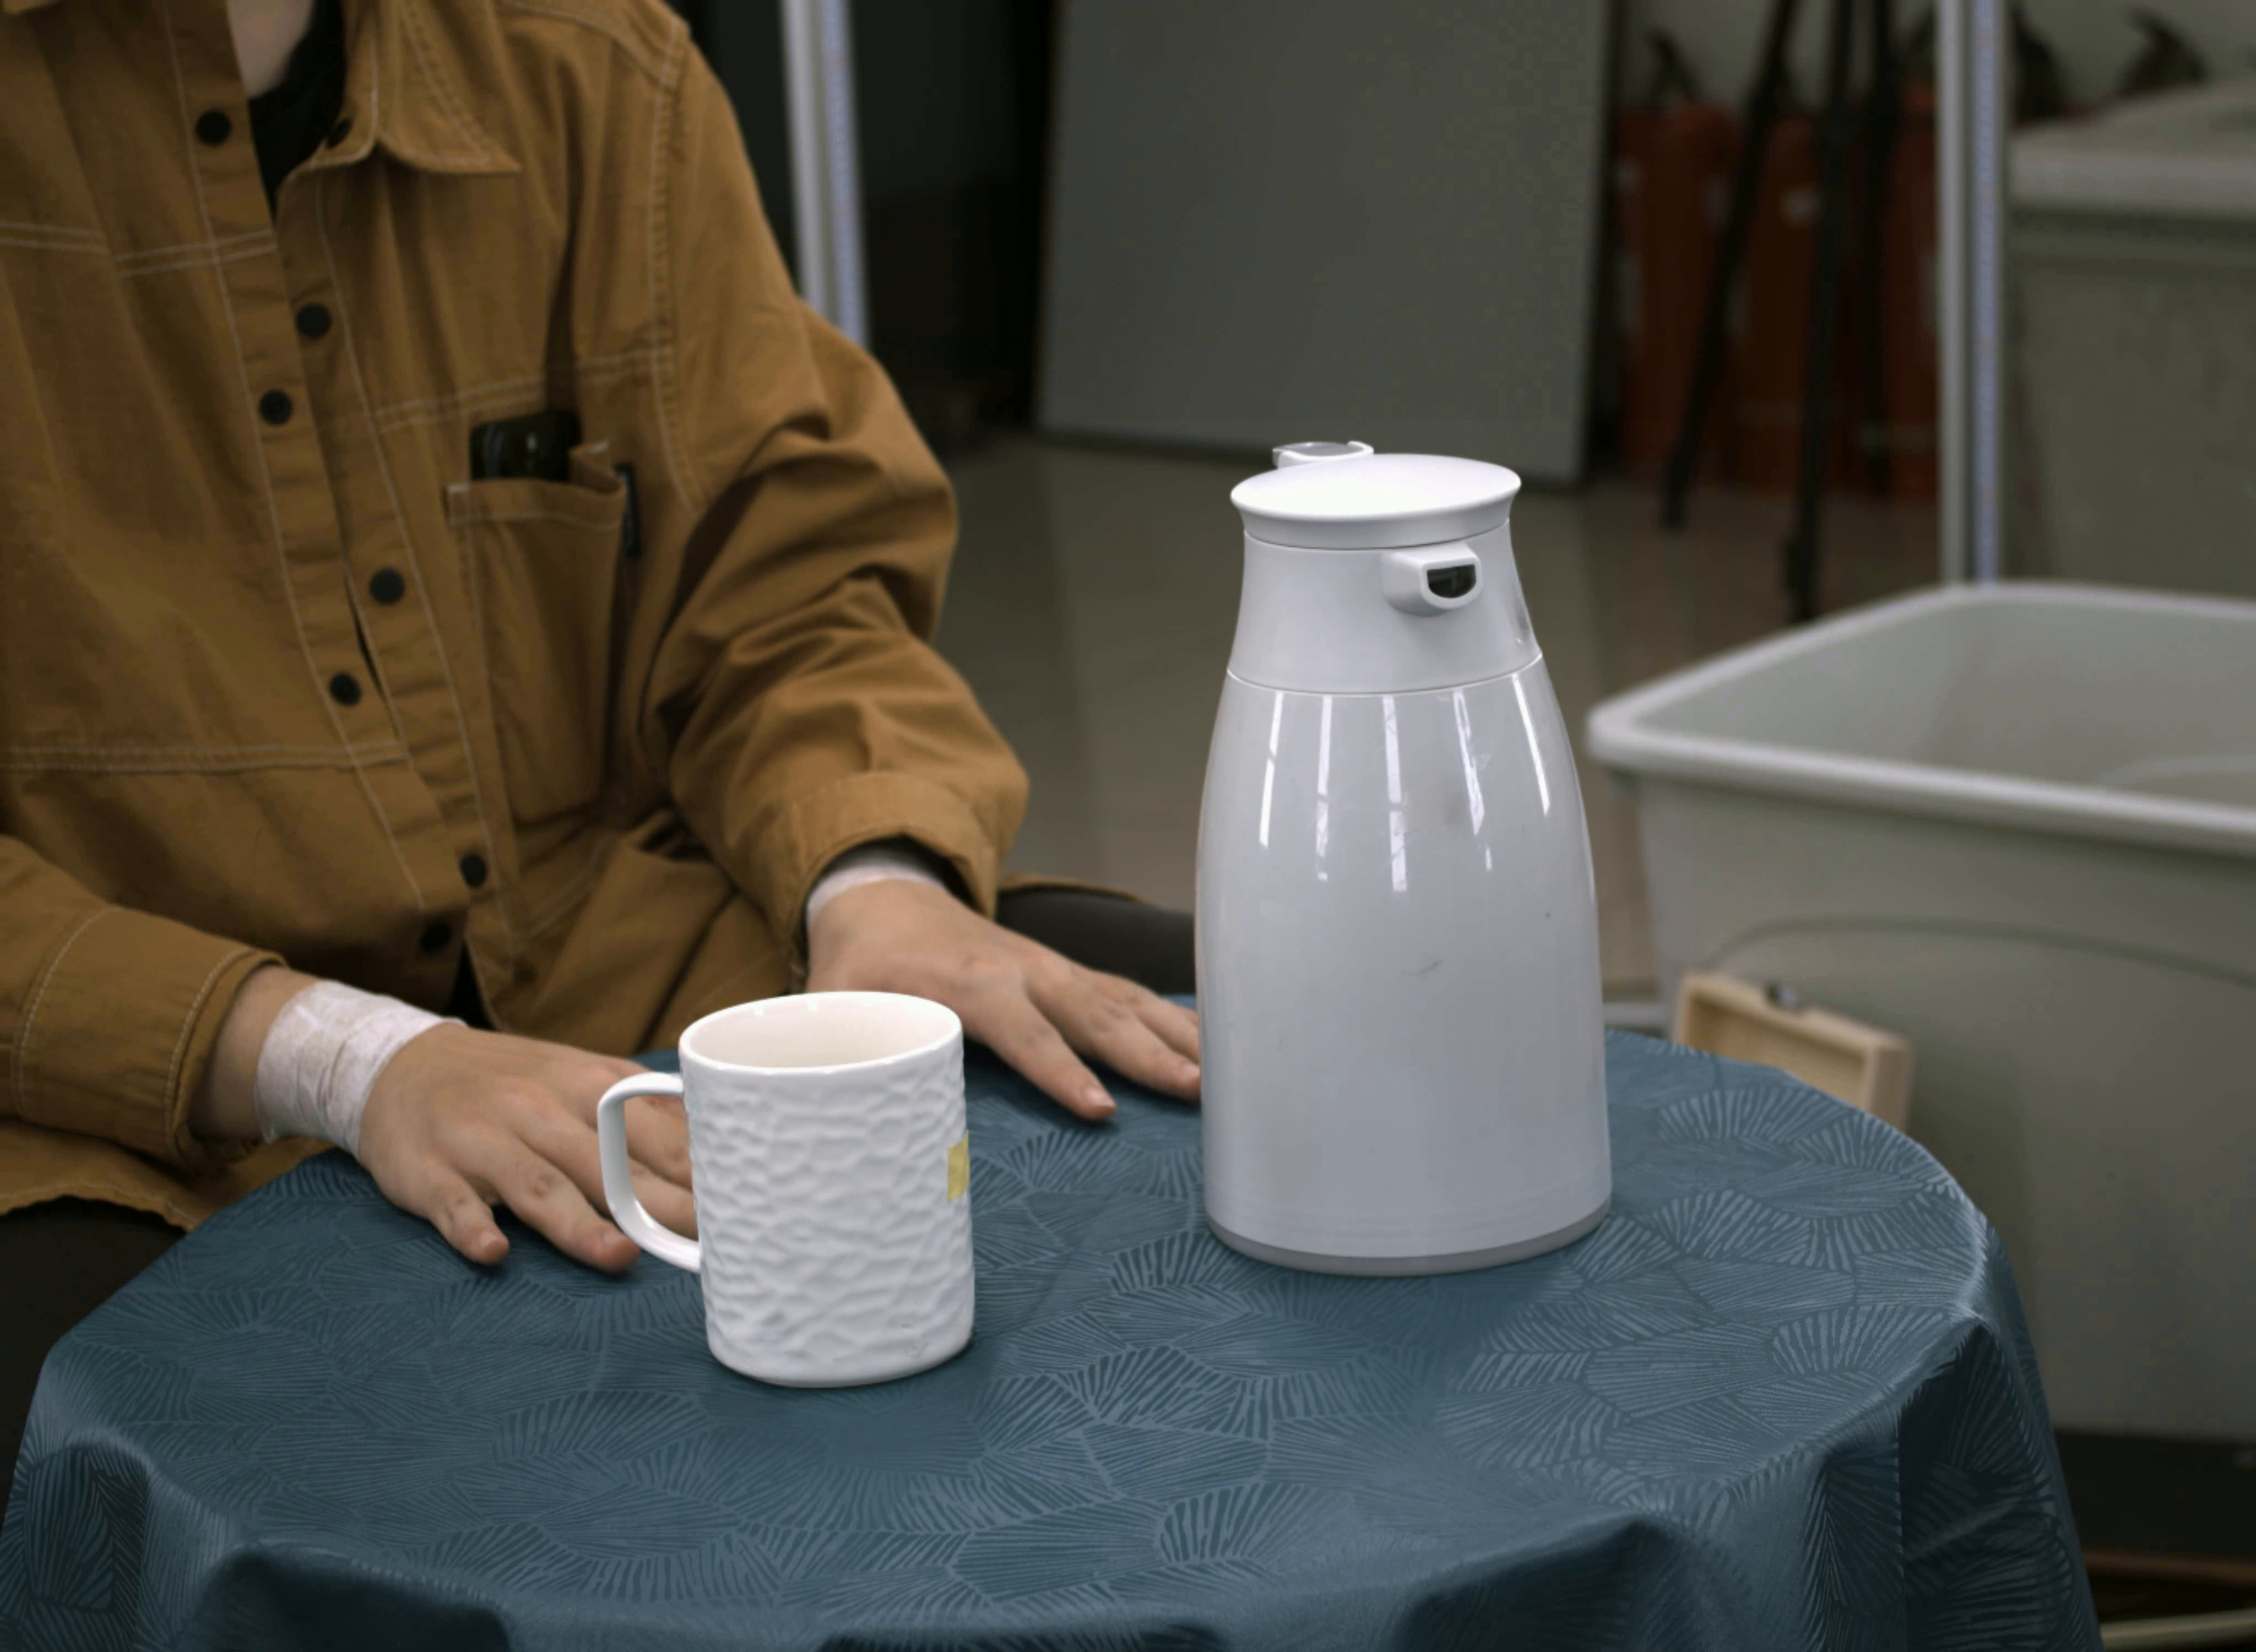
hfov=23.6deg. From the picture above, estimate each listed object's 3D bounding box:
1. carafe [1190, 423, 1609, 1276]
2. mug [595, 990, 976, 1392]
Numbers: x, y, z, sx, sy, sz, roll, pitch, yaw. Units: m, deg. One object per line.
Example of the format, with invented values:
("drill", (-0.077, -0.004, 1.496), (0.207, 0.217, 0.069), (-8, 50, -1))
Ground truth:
("carafe", (0.074, -0.001, 1.723), (0.130, 0.251, 0.169), (-9, 14, -18))
("mug", (-0.105, 0.110, 1.639), (0.118, 0.103, 0.084), (0, 13, 19))
